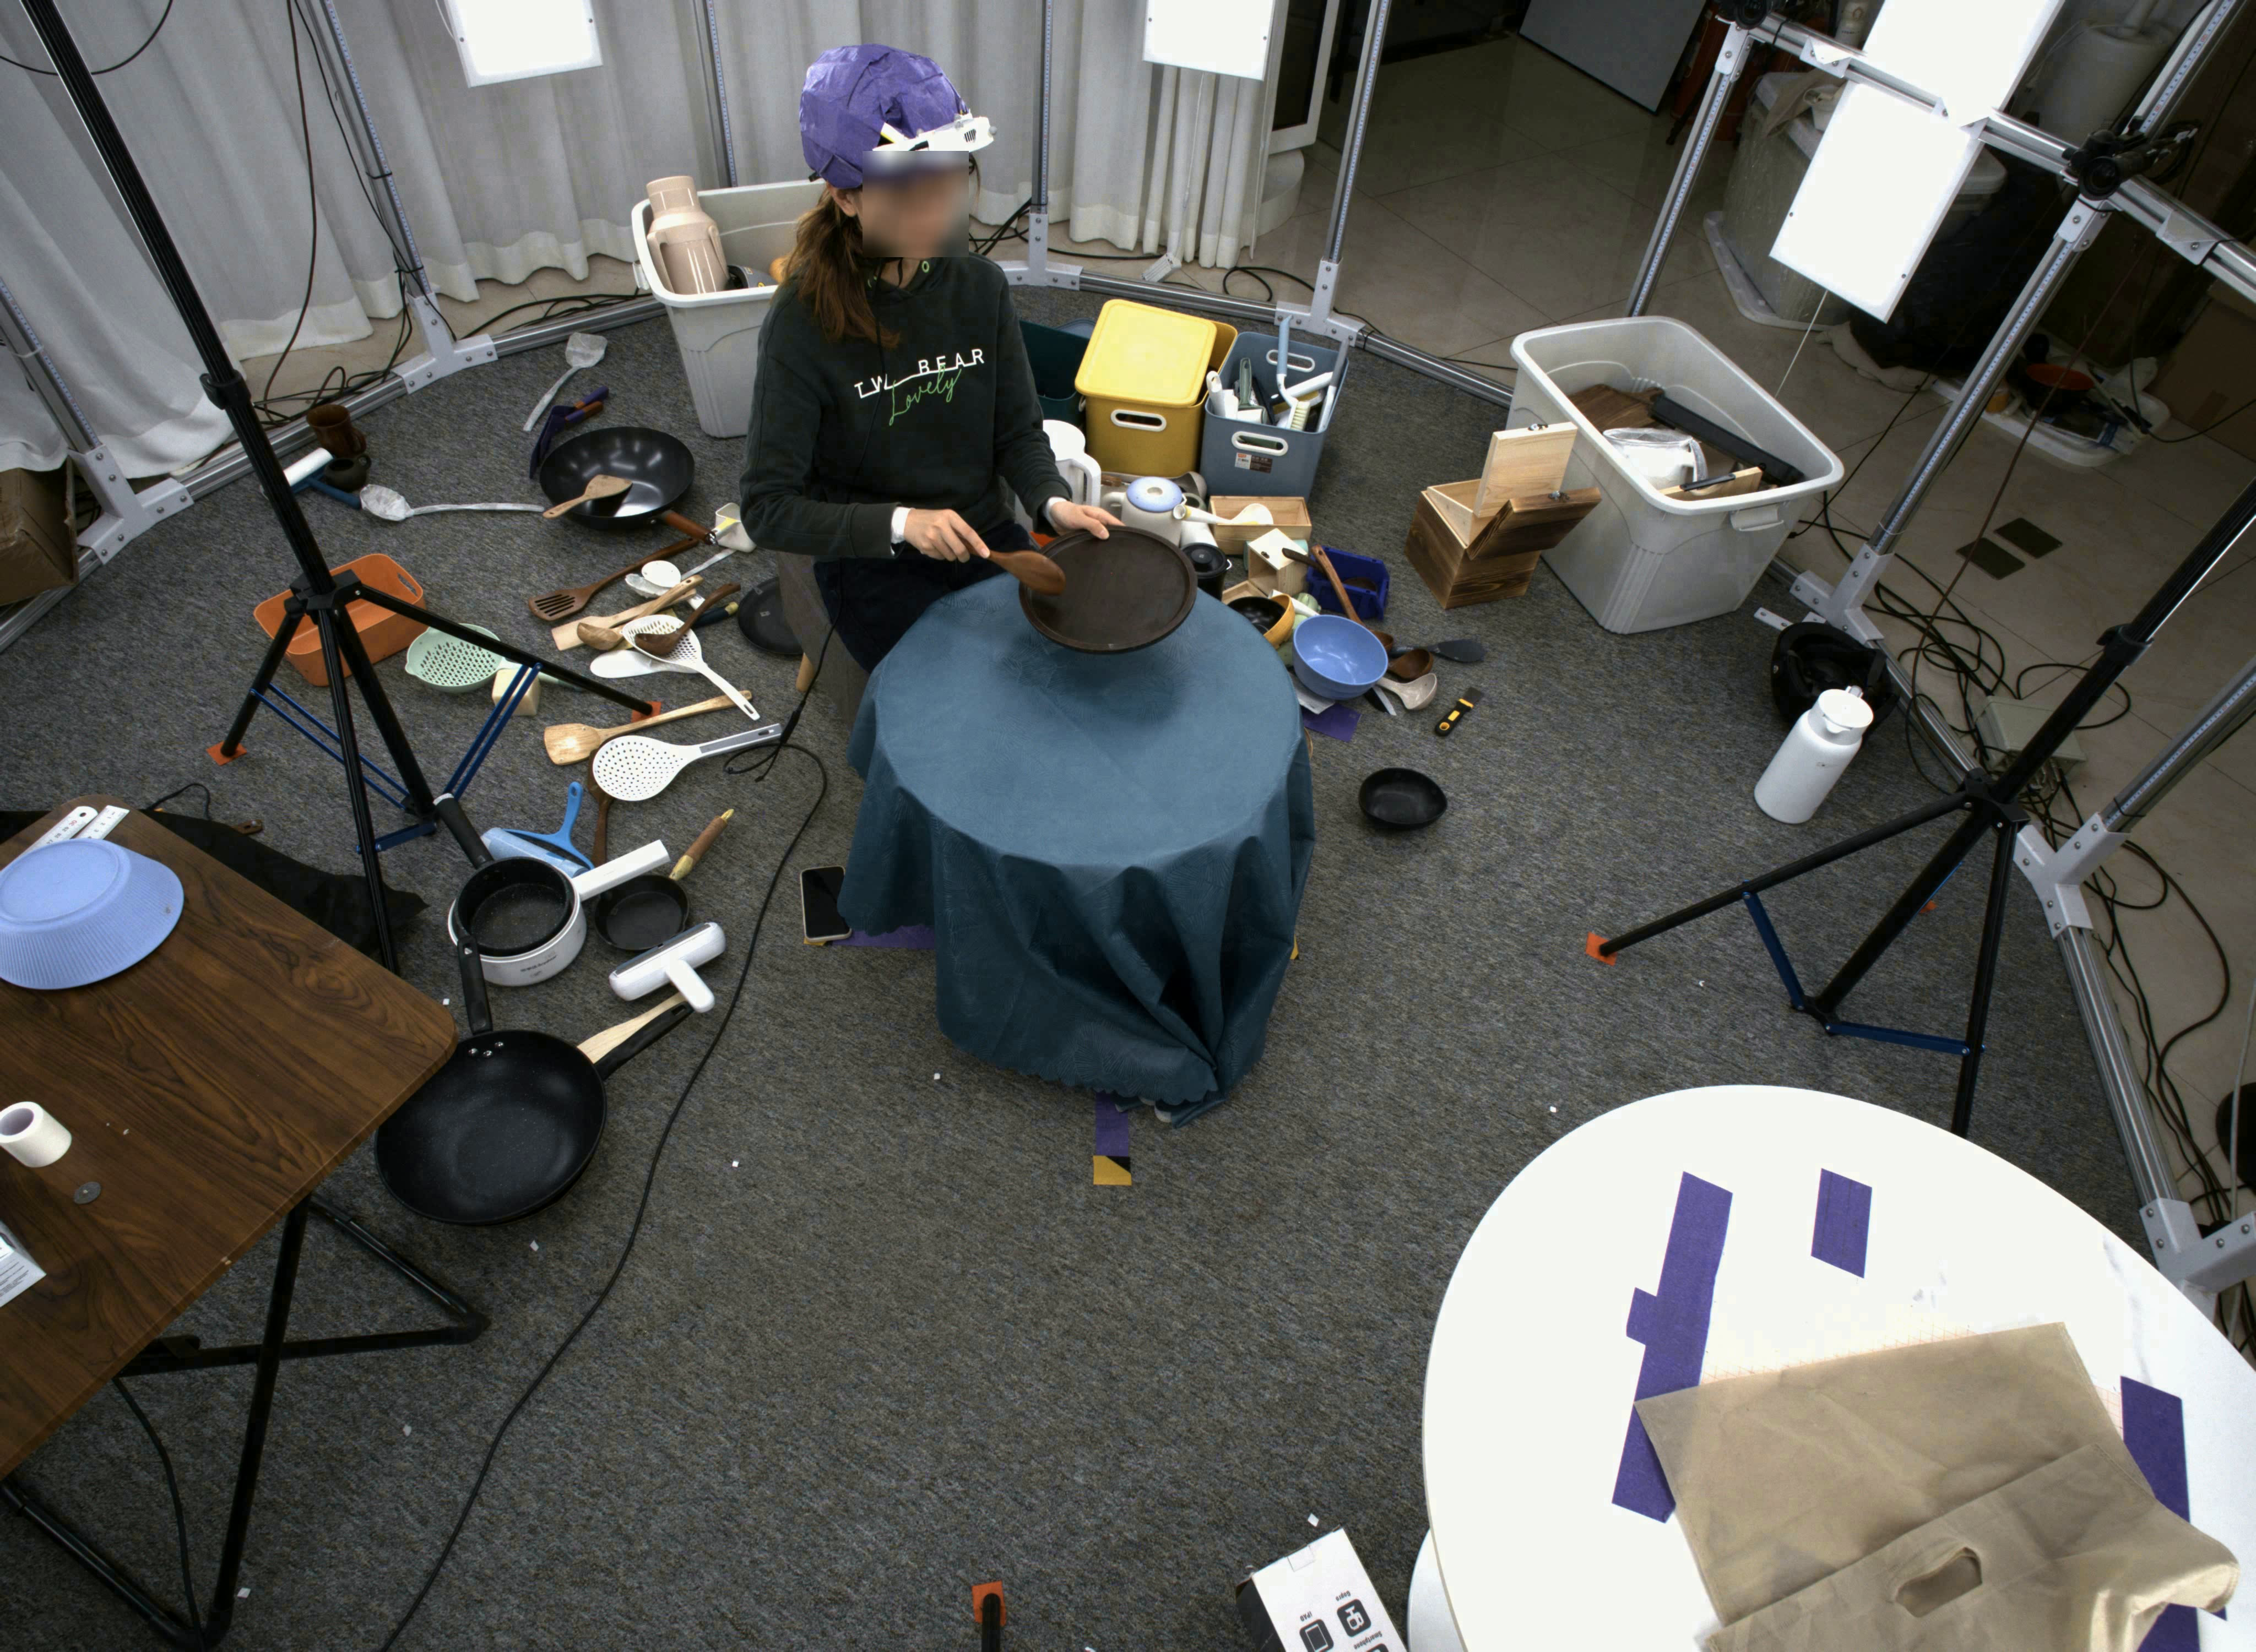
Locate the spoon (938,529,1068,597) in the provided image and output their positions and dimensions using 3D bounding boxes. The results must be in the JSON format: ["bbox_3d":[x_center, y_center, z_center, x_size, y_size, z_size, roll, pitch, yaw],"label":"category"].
[{"bbox_3d":[-0.178,-0.374,1.820,0.218,0.074,0.017,26,64,20],"label":"spoon"}]

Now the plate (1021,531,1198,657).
[{"bbox_3d":[-0.026,-0.333,1.842,0.254,0.028,0.261,-1,52,1],"label":"plate"}]
